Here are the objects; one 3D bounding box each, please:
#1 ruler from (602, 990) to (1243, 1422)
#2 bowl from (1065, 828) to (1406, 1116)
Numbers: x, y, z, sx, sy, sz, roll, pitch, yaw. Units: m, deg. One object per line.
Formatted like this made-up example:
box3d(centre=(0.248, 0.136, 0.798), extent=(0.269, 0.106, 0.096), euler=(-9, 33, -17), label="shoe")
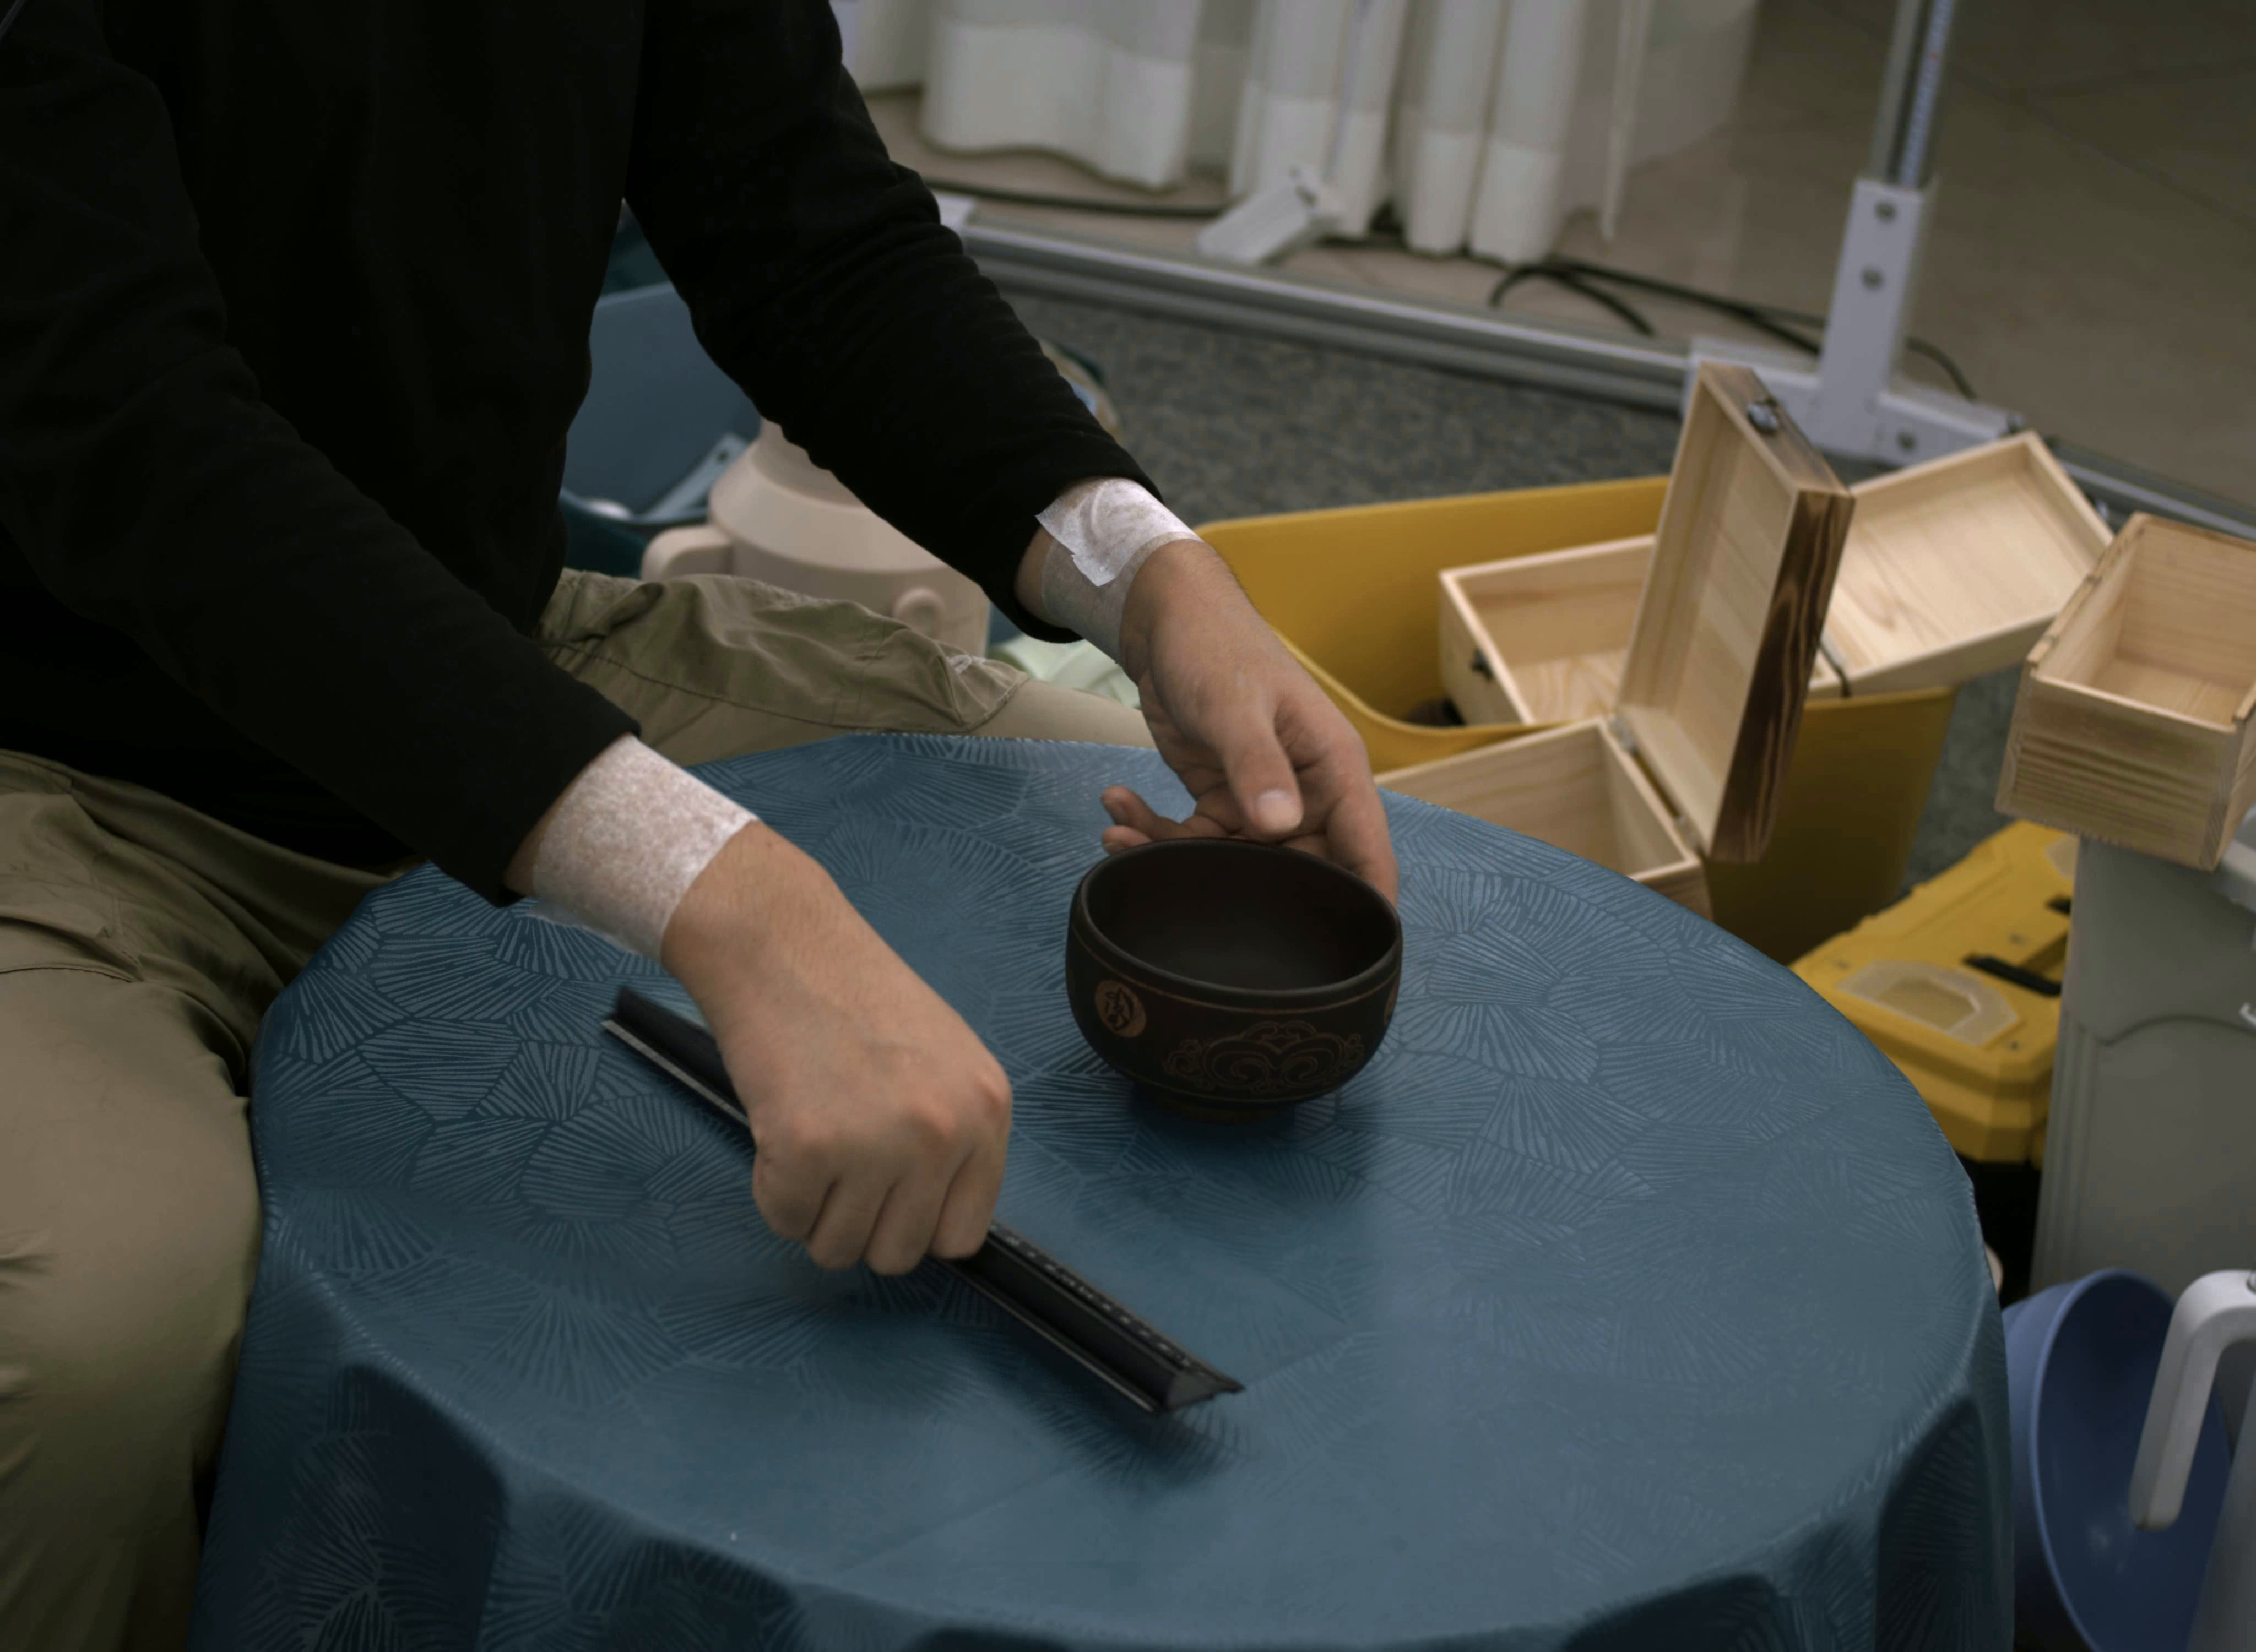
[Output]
box3d(centre=(-0.072, 0.118, 1.761), extent=(0.039, 0.017, 0.315), euler=(-9, 27, -39), label="ruler")
box3d(centre=(0.035, 0.057, 1.858), extent=(0.117, 0.069, 0.119), euler=(6, 27, -3), label="bowl")
